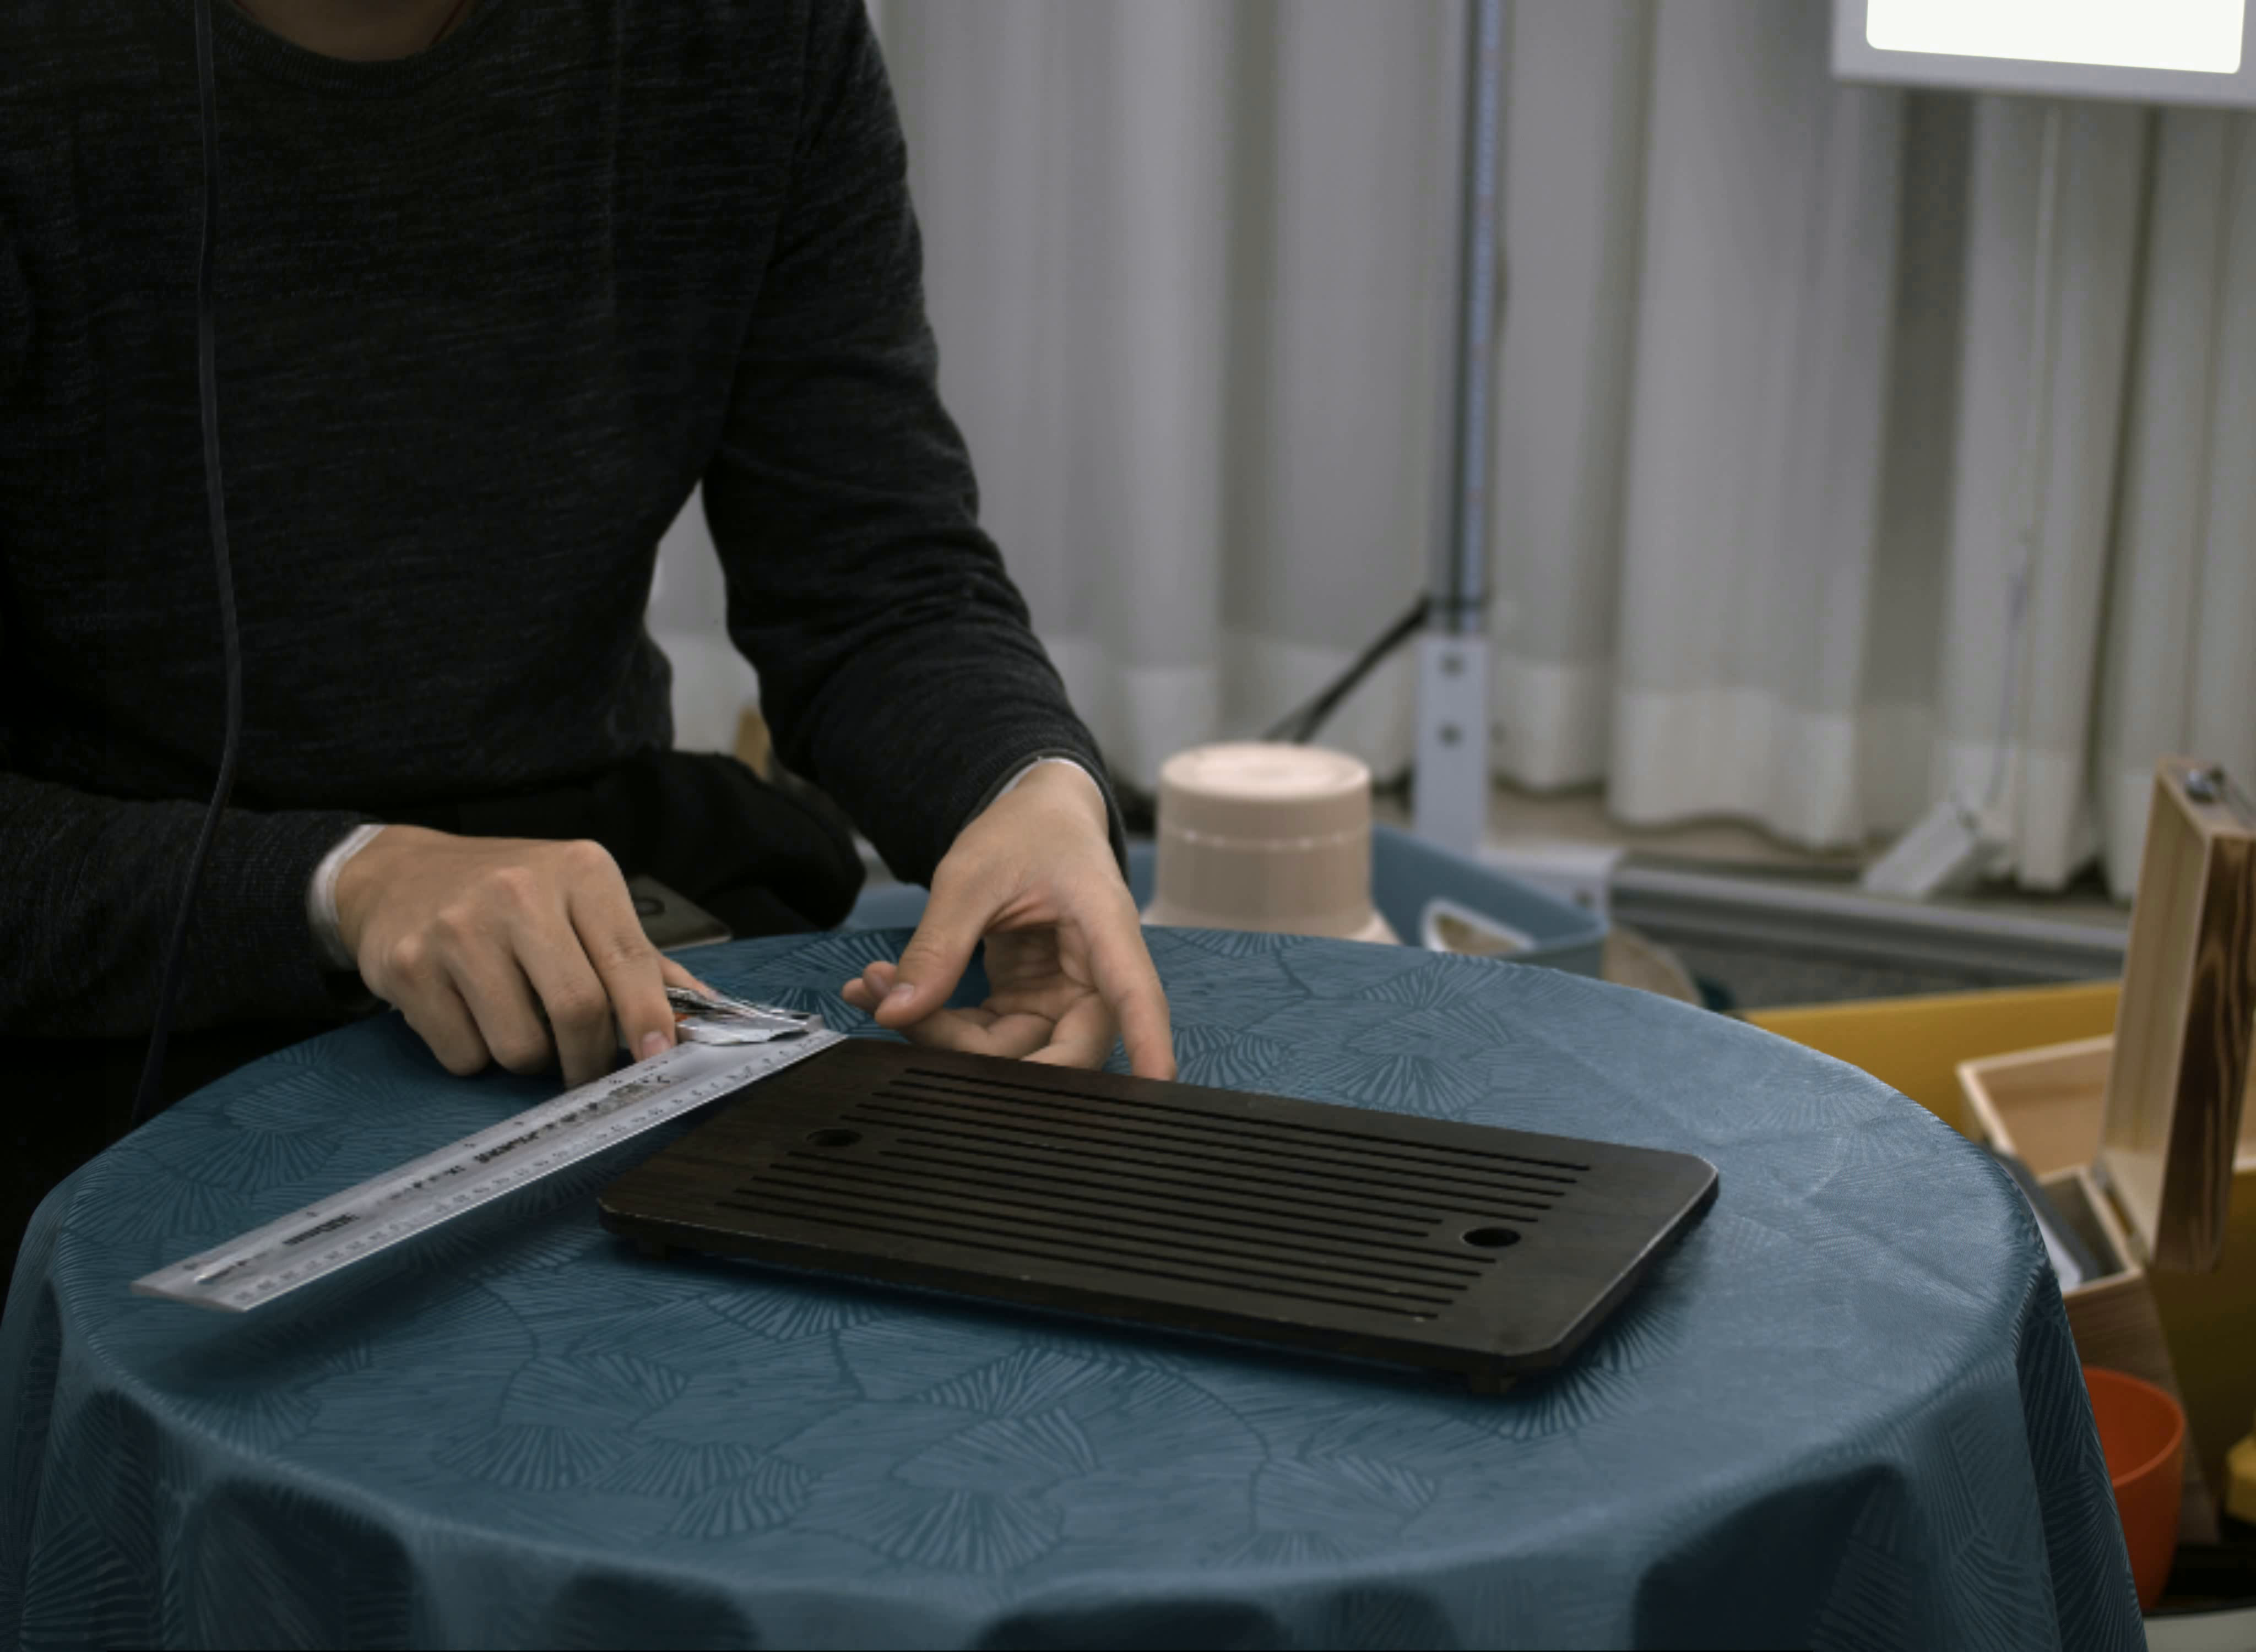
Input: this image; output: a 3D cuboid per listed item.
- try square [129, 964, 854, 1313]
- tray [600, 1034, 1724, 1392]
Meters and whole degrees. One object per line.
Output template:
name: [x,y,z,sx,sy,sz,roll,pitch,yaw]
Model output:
try square: [-0.229,0.092,1.605,0.150,0.016,0.314,7,16,29]
tray: [0.011,0.113,1.576,0.303,0.019,0.170,7,19,23]
